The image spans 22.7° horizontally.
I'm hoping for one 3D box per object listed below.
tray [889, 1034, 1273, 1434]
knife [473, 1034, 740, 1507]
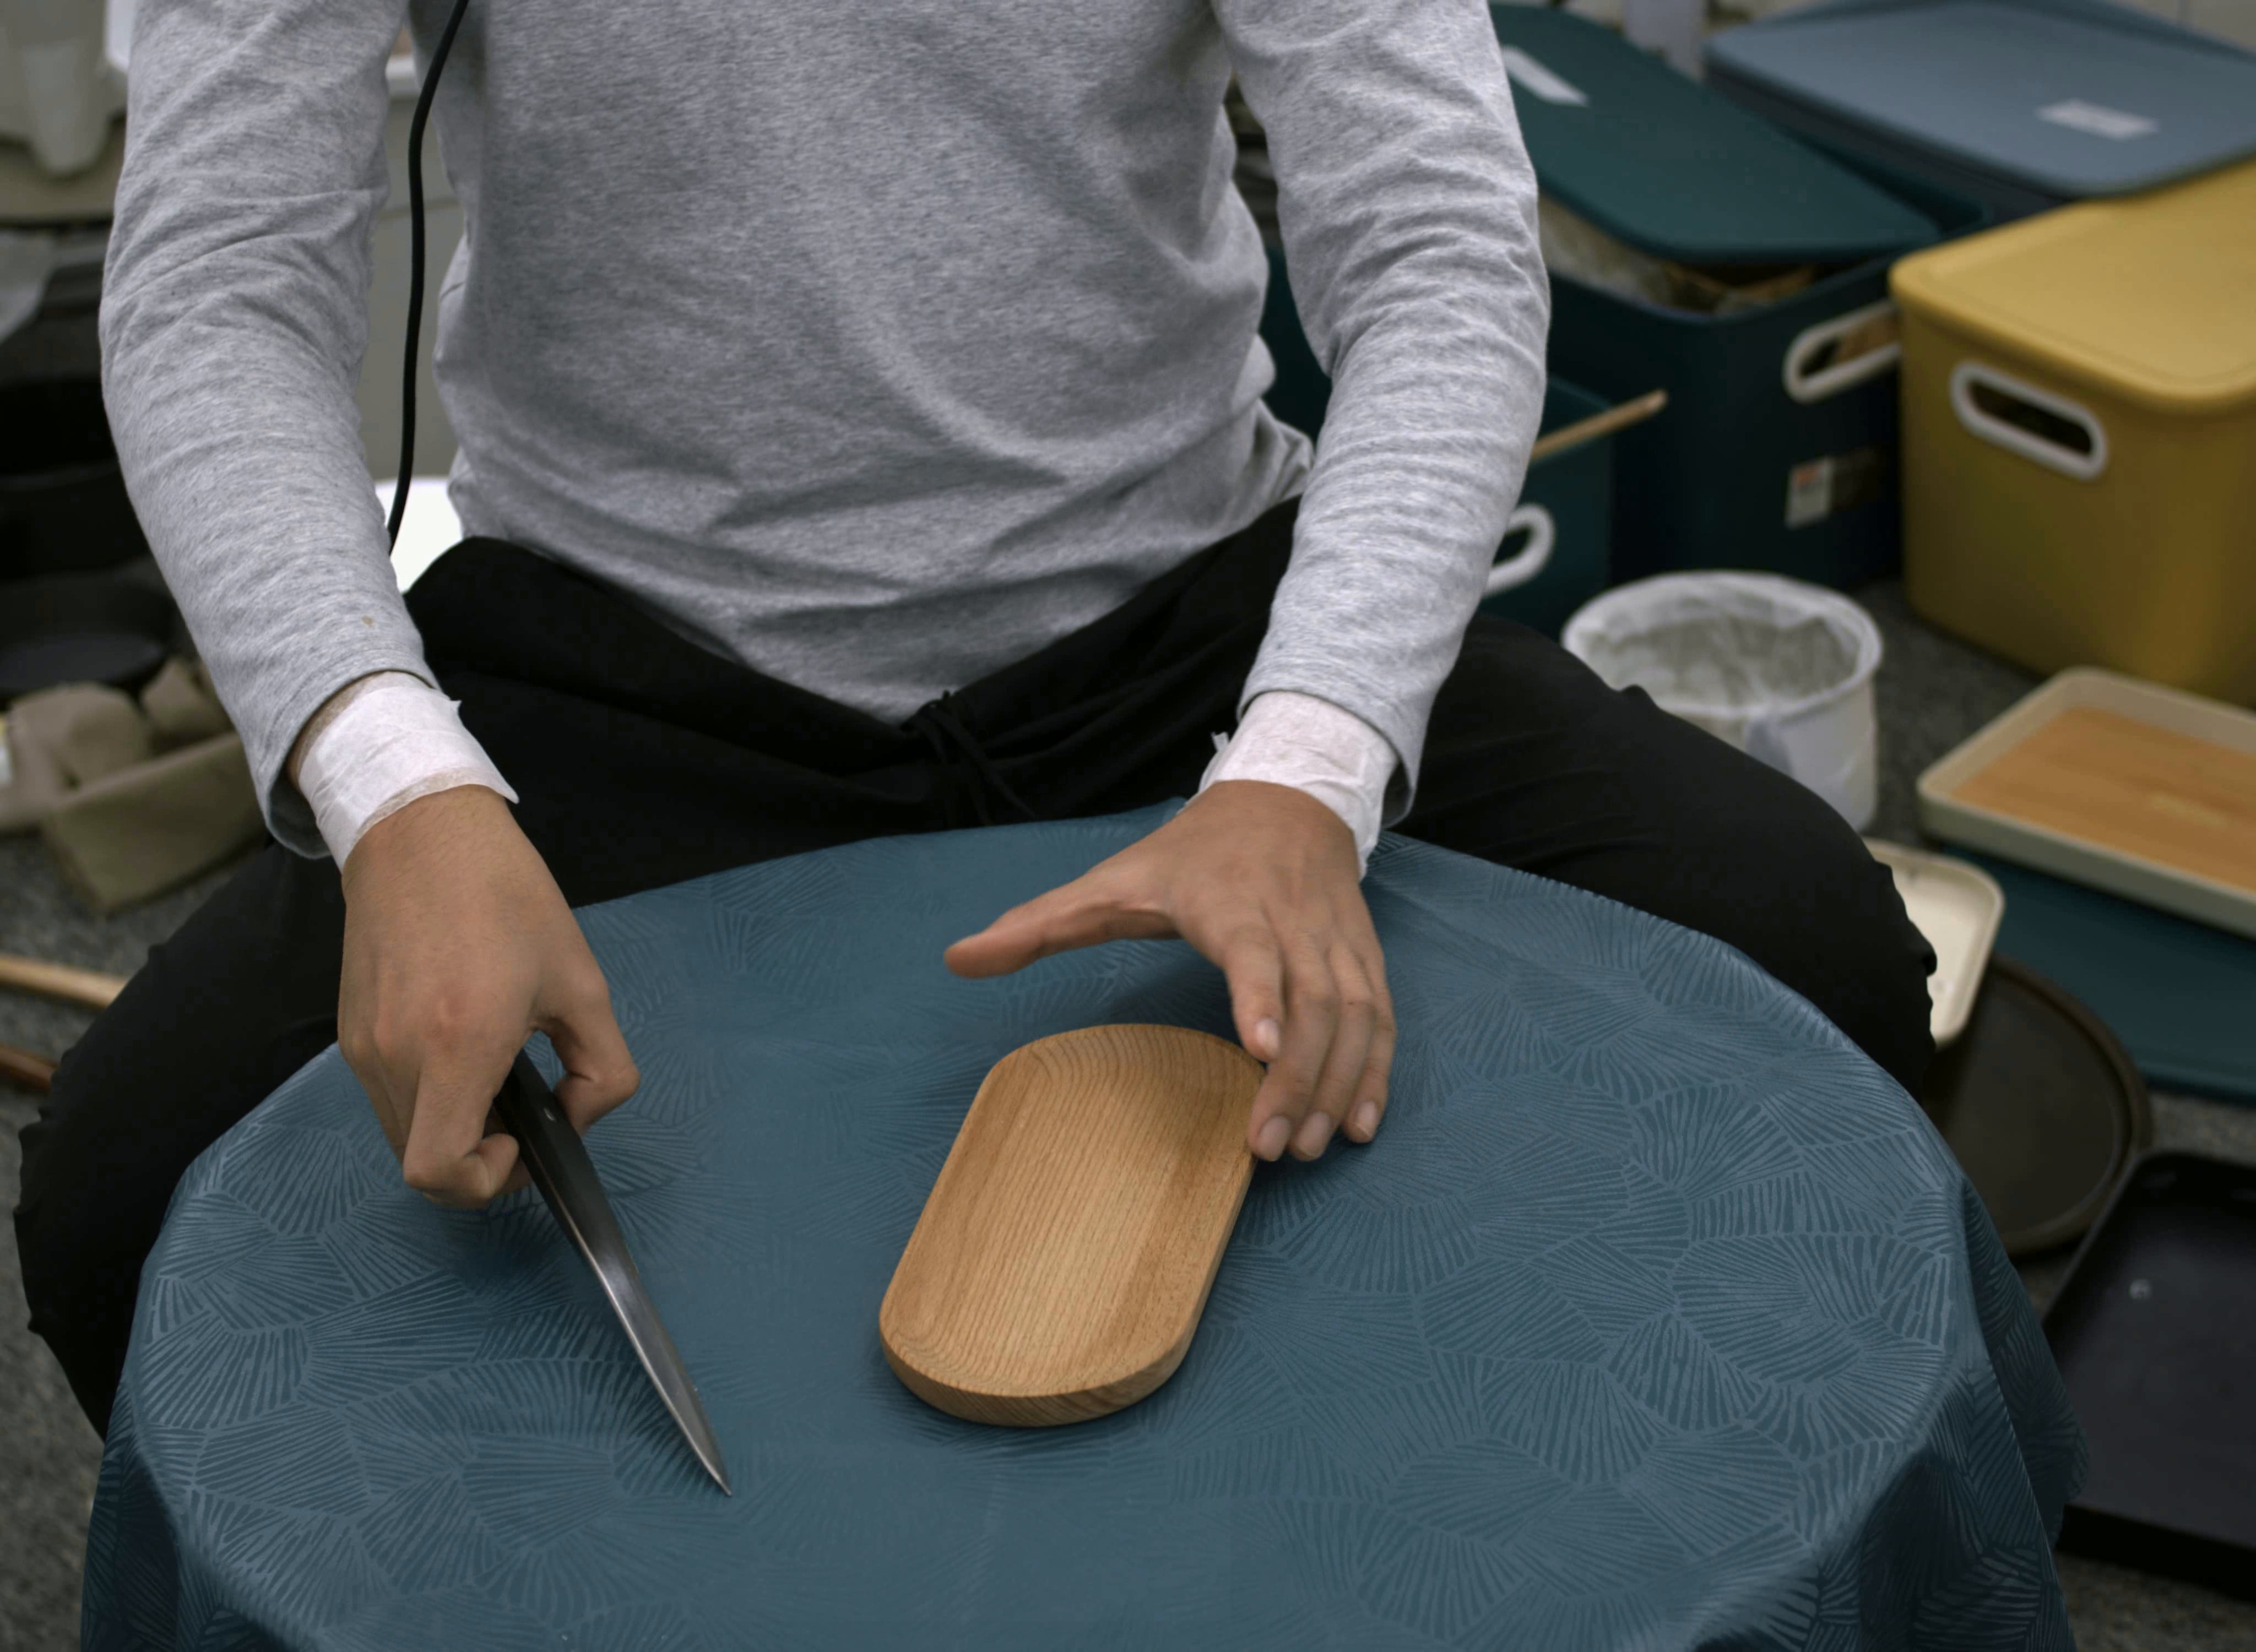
[{"bbox_3d":[-0.013,0.130,1.830,0.101,0.020,0.235,2,28,10],"label":"tray"},{"bbox_3d":[-0.168,0.140,1.799,0.024,0.016,0.241,28,18,-39],"label":"knife"}]
